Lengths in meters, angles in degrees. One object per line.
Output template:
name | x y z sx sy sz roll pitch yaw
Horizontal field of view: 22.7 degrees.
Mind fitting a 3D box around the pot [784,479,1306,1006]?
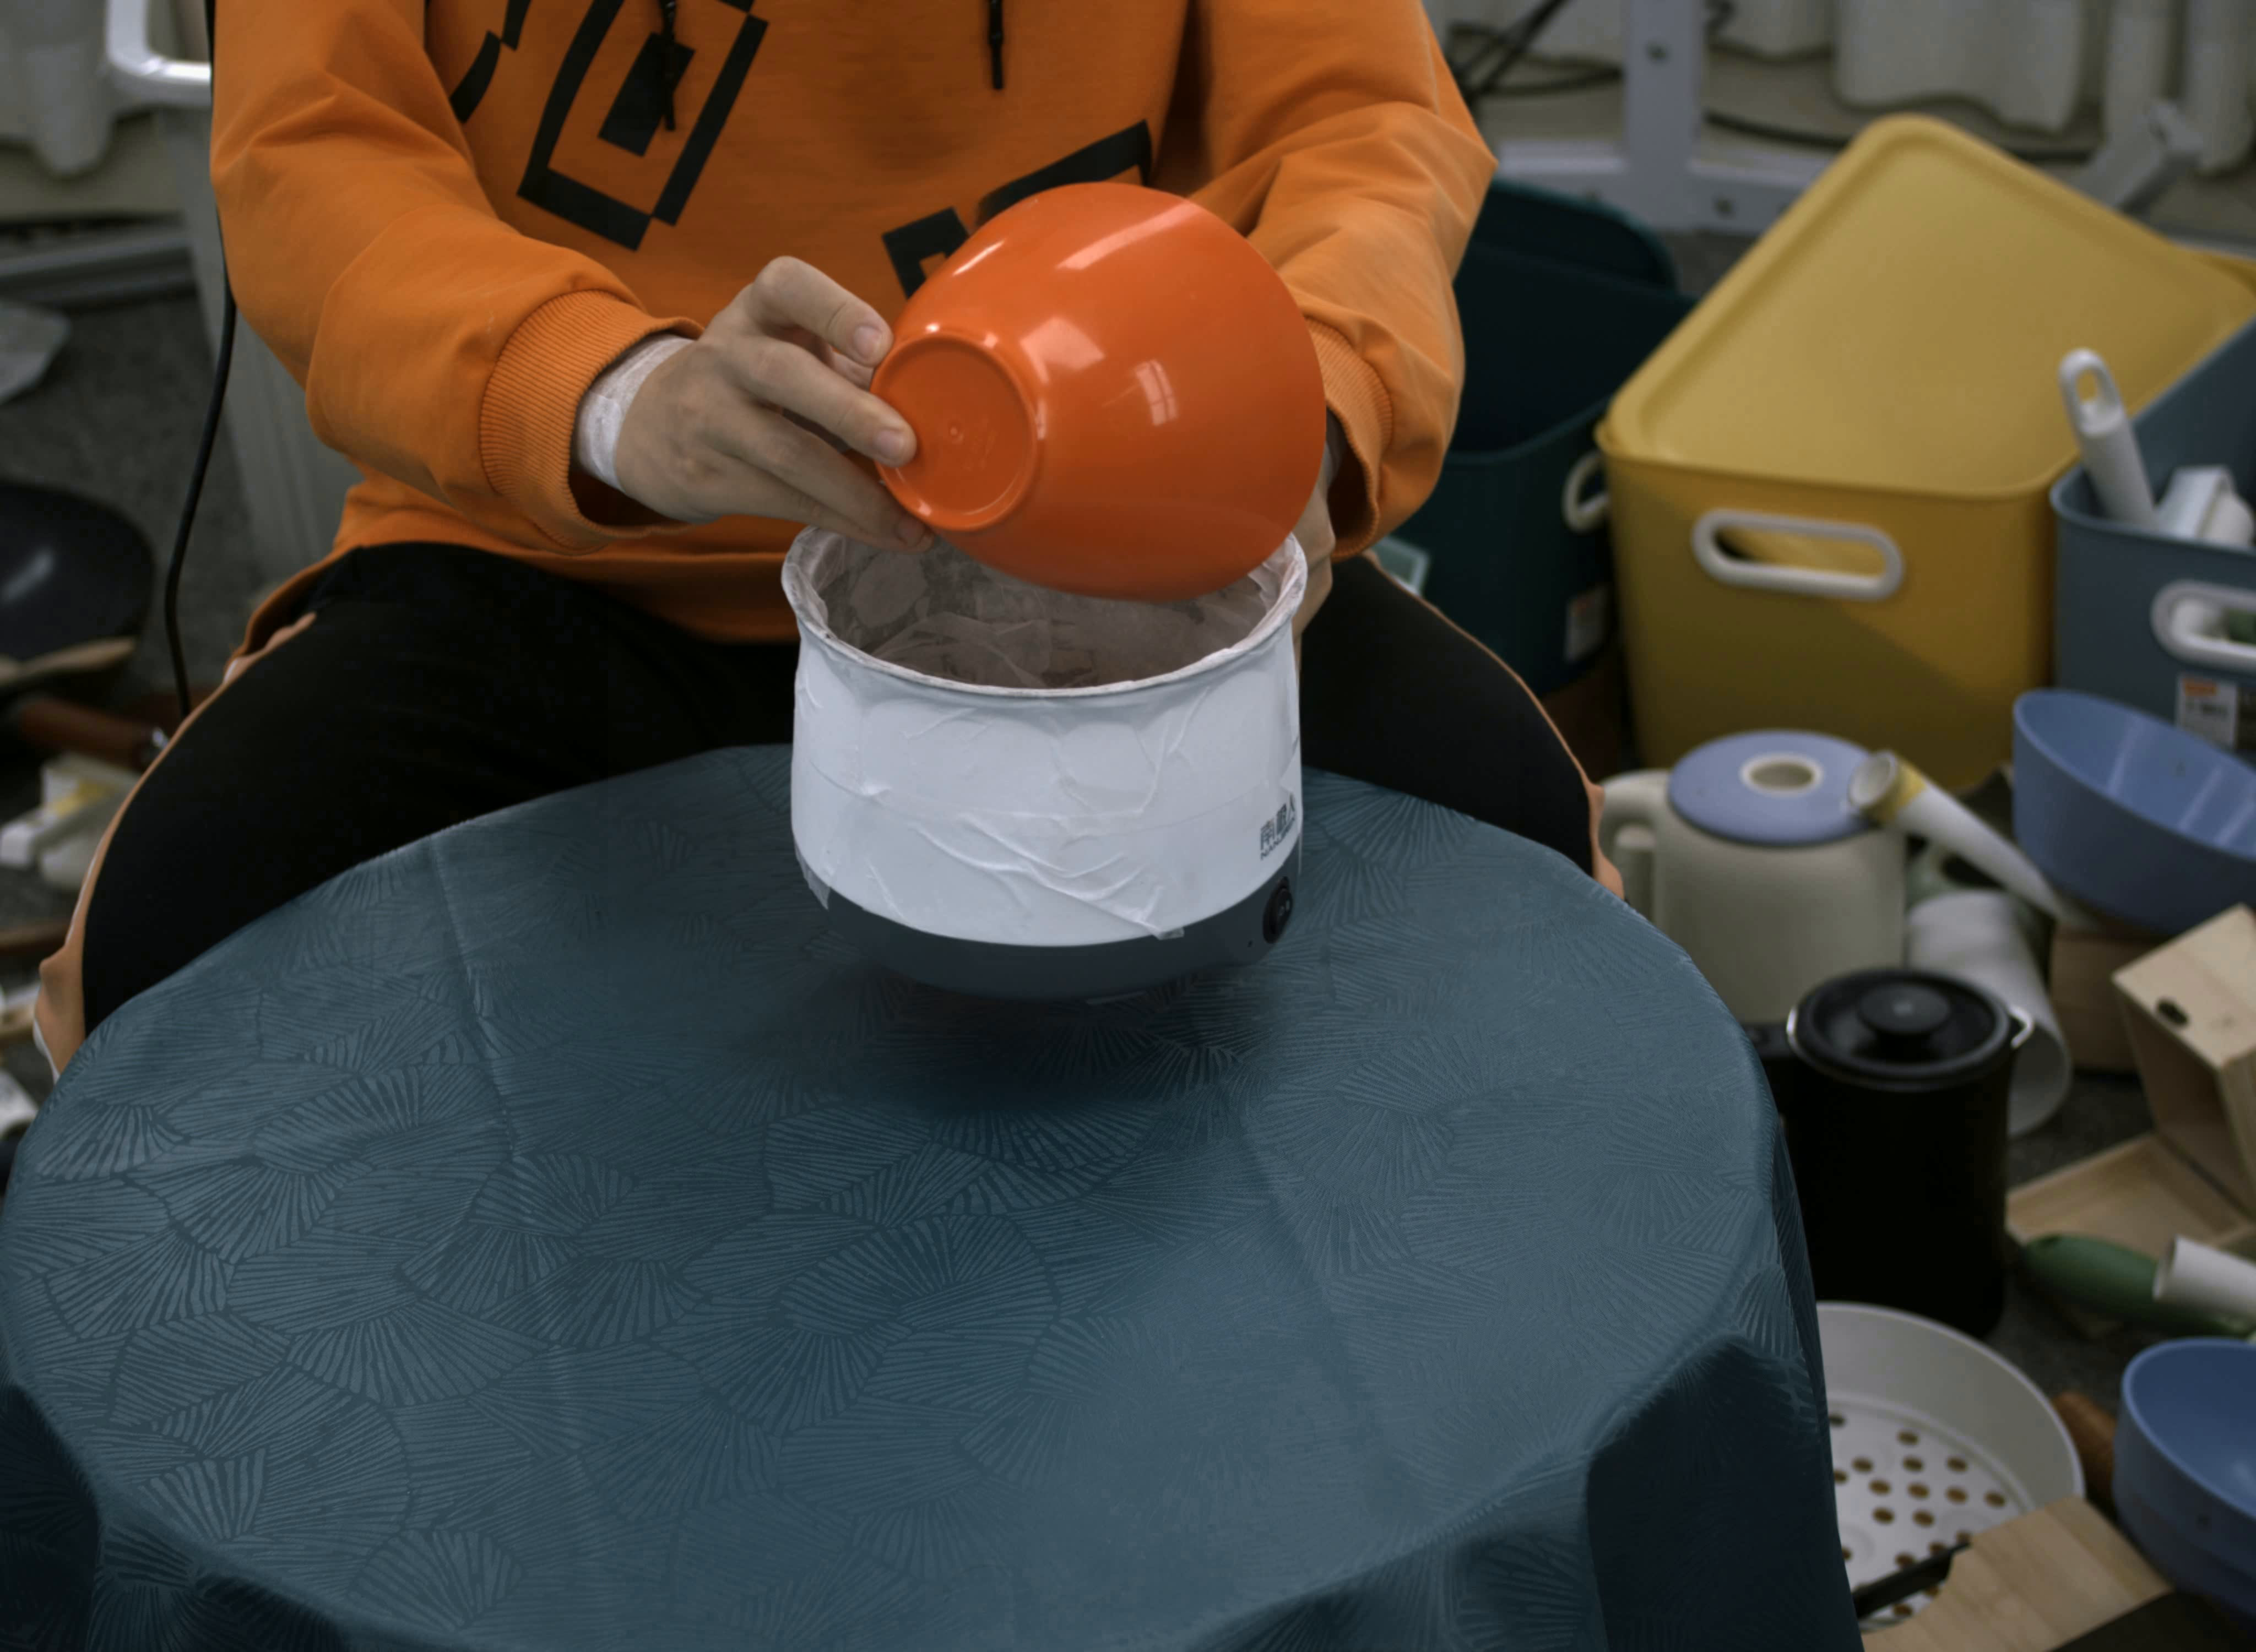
pot | -0.018 -0.045 1.948 0.178 0.135 0.238 12 31 19

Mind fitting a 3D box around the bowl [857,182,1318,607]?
bowl | -0.025 -0.135 1.872 0.147 0.147 0.106 13 20 28
